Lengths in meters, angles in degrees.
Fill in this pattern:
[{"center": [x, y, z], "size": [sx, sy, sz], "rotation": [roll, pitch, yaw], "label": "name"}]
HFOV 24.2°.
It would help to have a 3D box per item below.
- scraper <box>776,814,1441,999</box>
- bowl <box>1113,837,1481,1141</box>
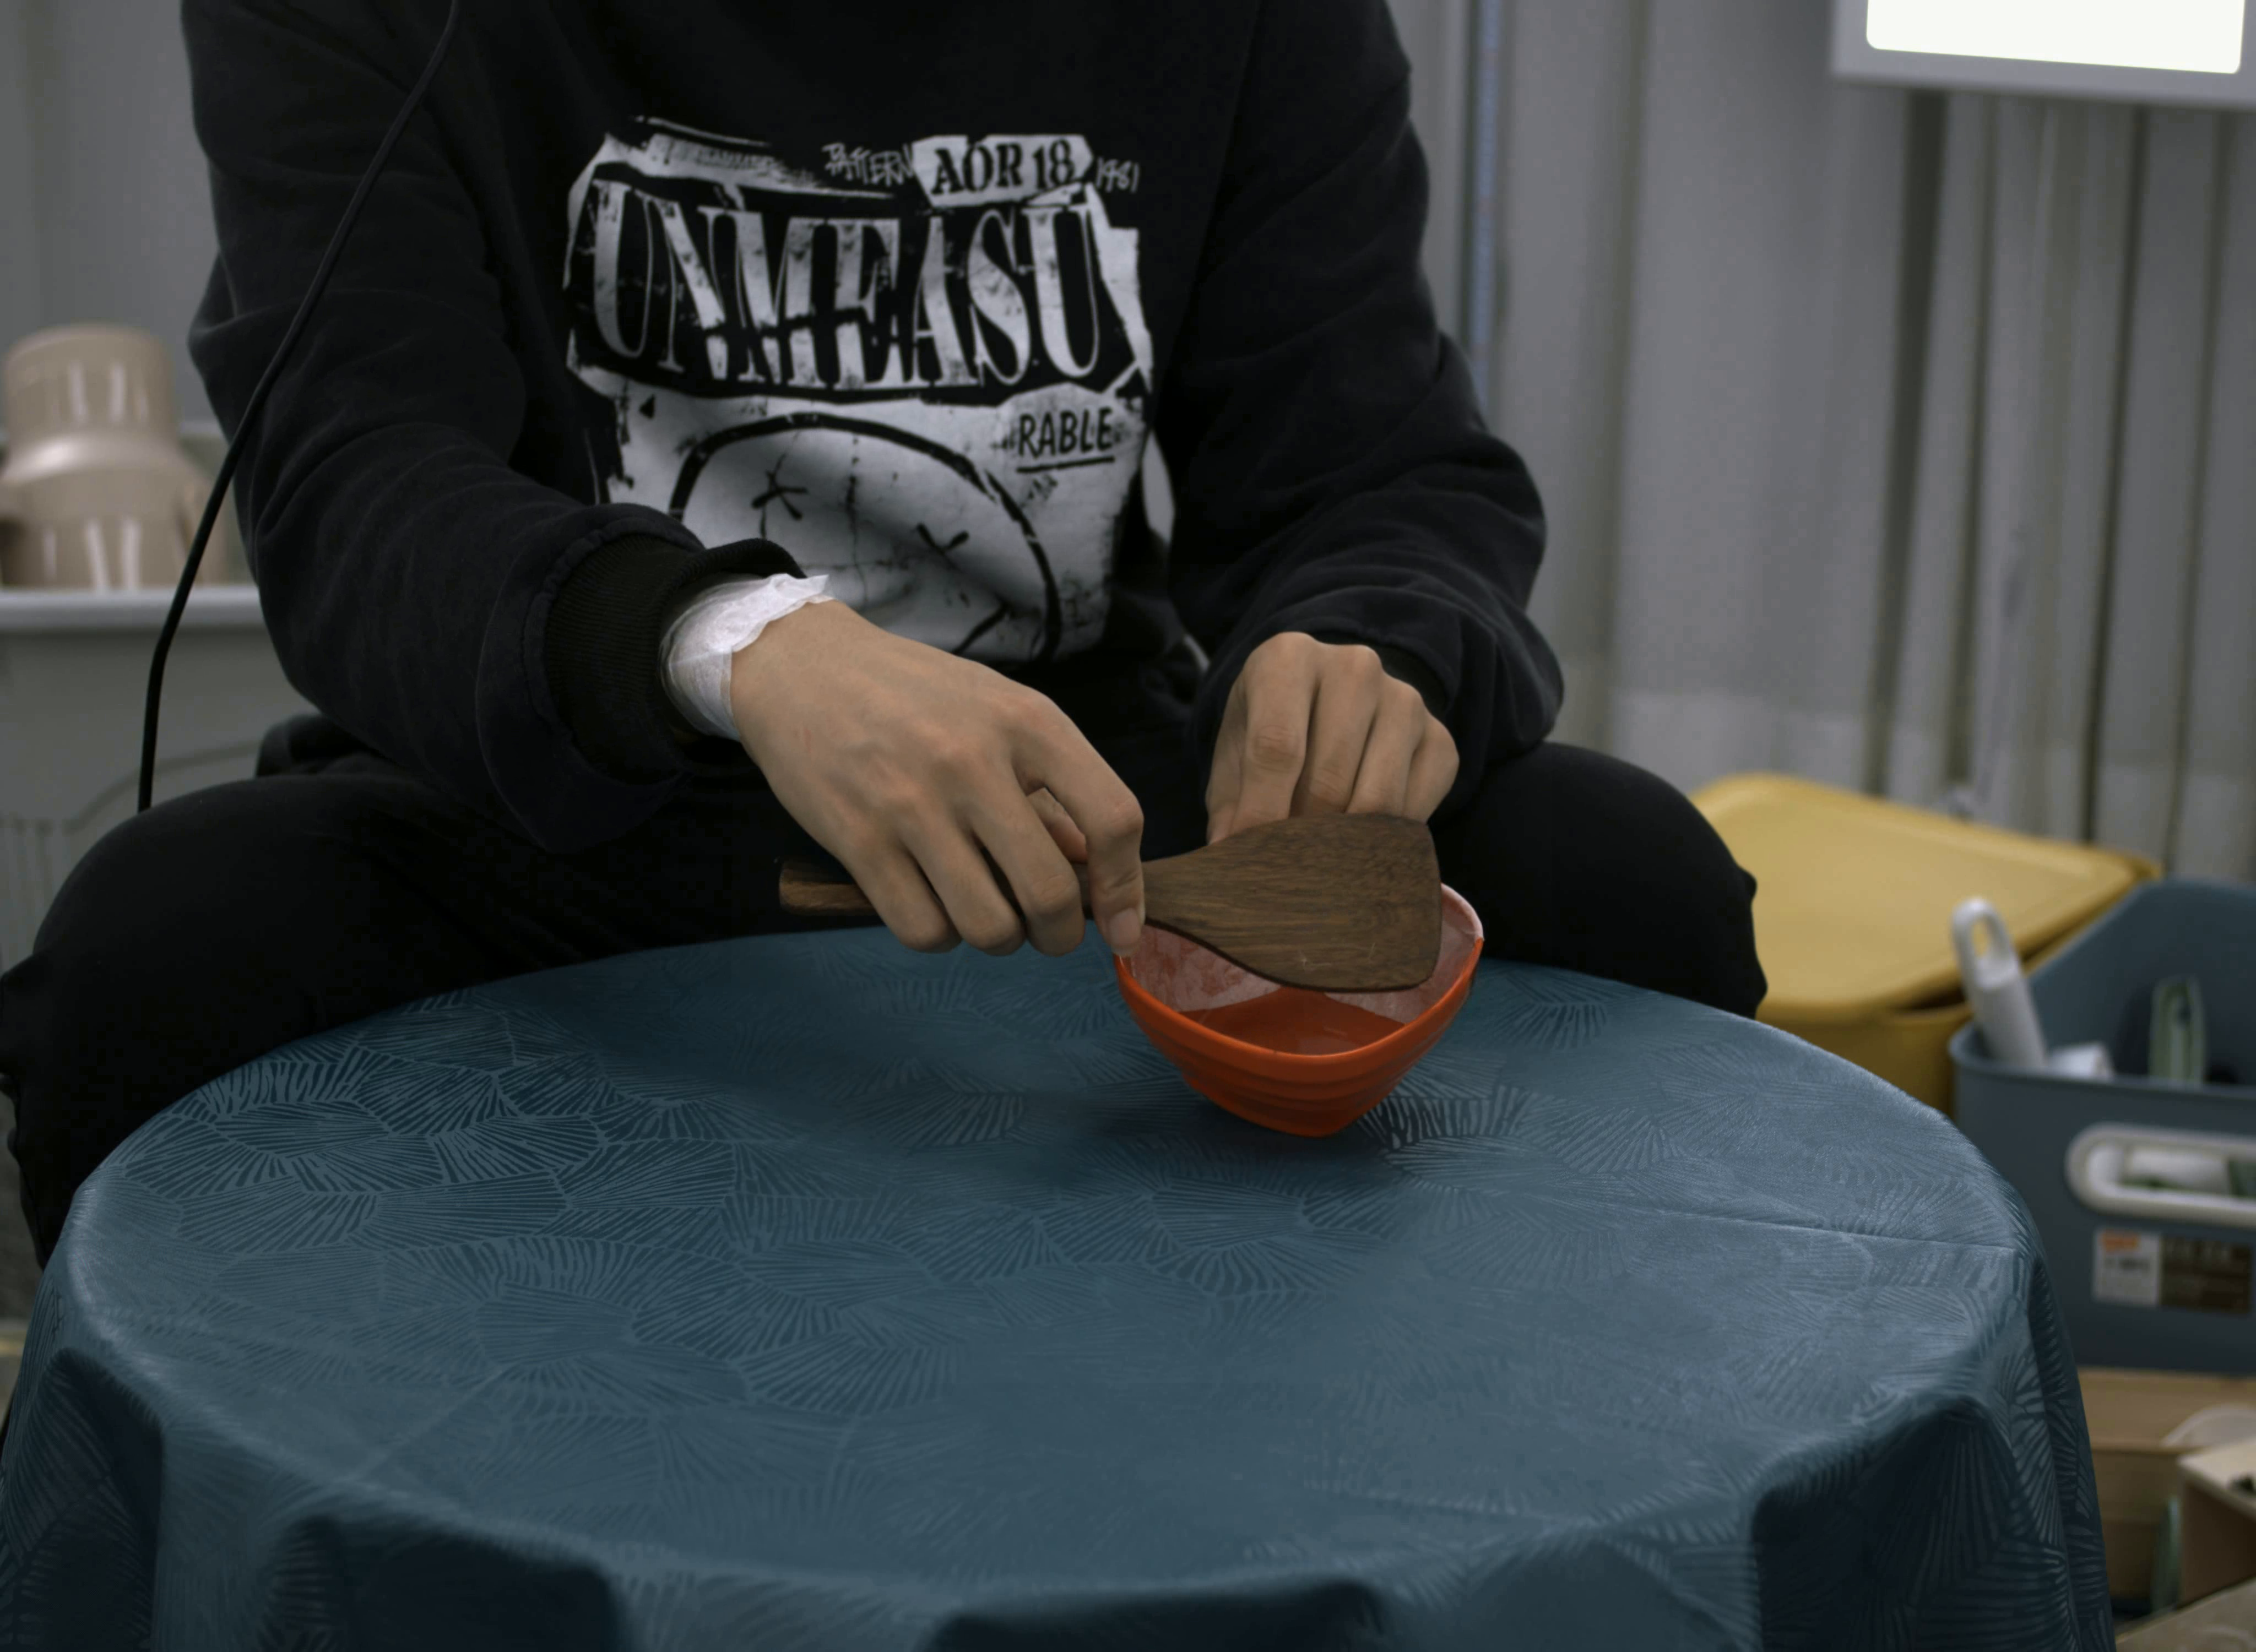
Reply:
[{"center": [-0.006, 0.021, 1.666], "size": [0.211, 0.011, 0.075], "rotation": [3, 49, -2], "label": "scraper"}, {"center": [0.054, 0.057, 1.693], "size": [0.118, 0.052, 0.118], "rotation": [0, 38, 1], "label": "bowl"}]
